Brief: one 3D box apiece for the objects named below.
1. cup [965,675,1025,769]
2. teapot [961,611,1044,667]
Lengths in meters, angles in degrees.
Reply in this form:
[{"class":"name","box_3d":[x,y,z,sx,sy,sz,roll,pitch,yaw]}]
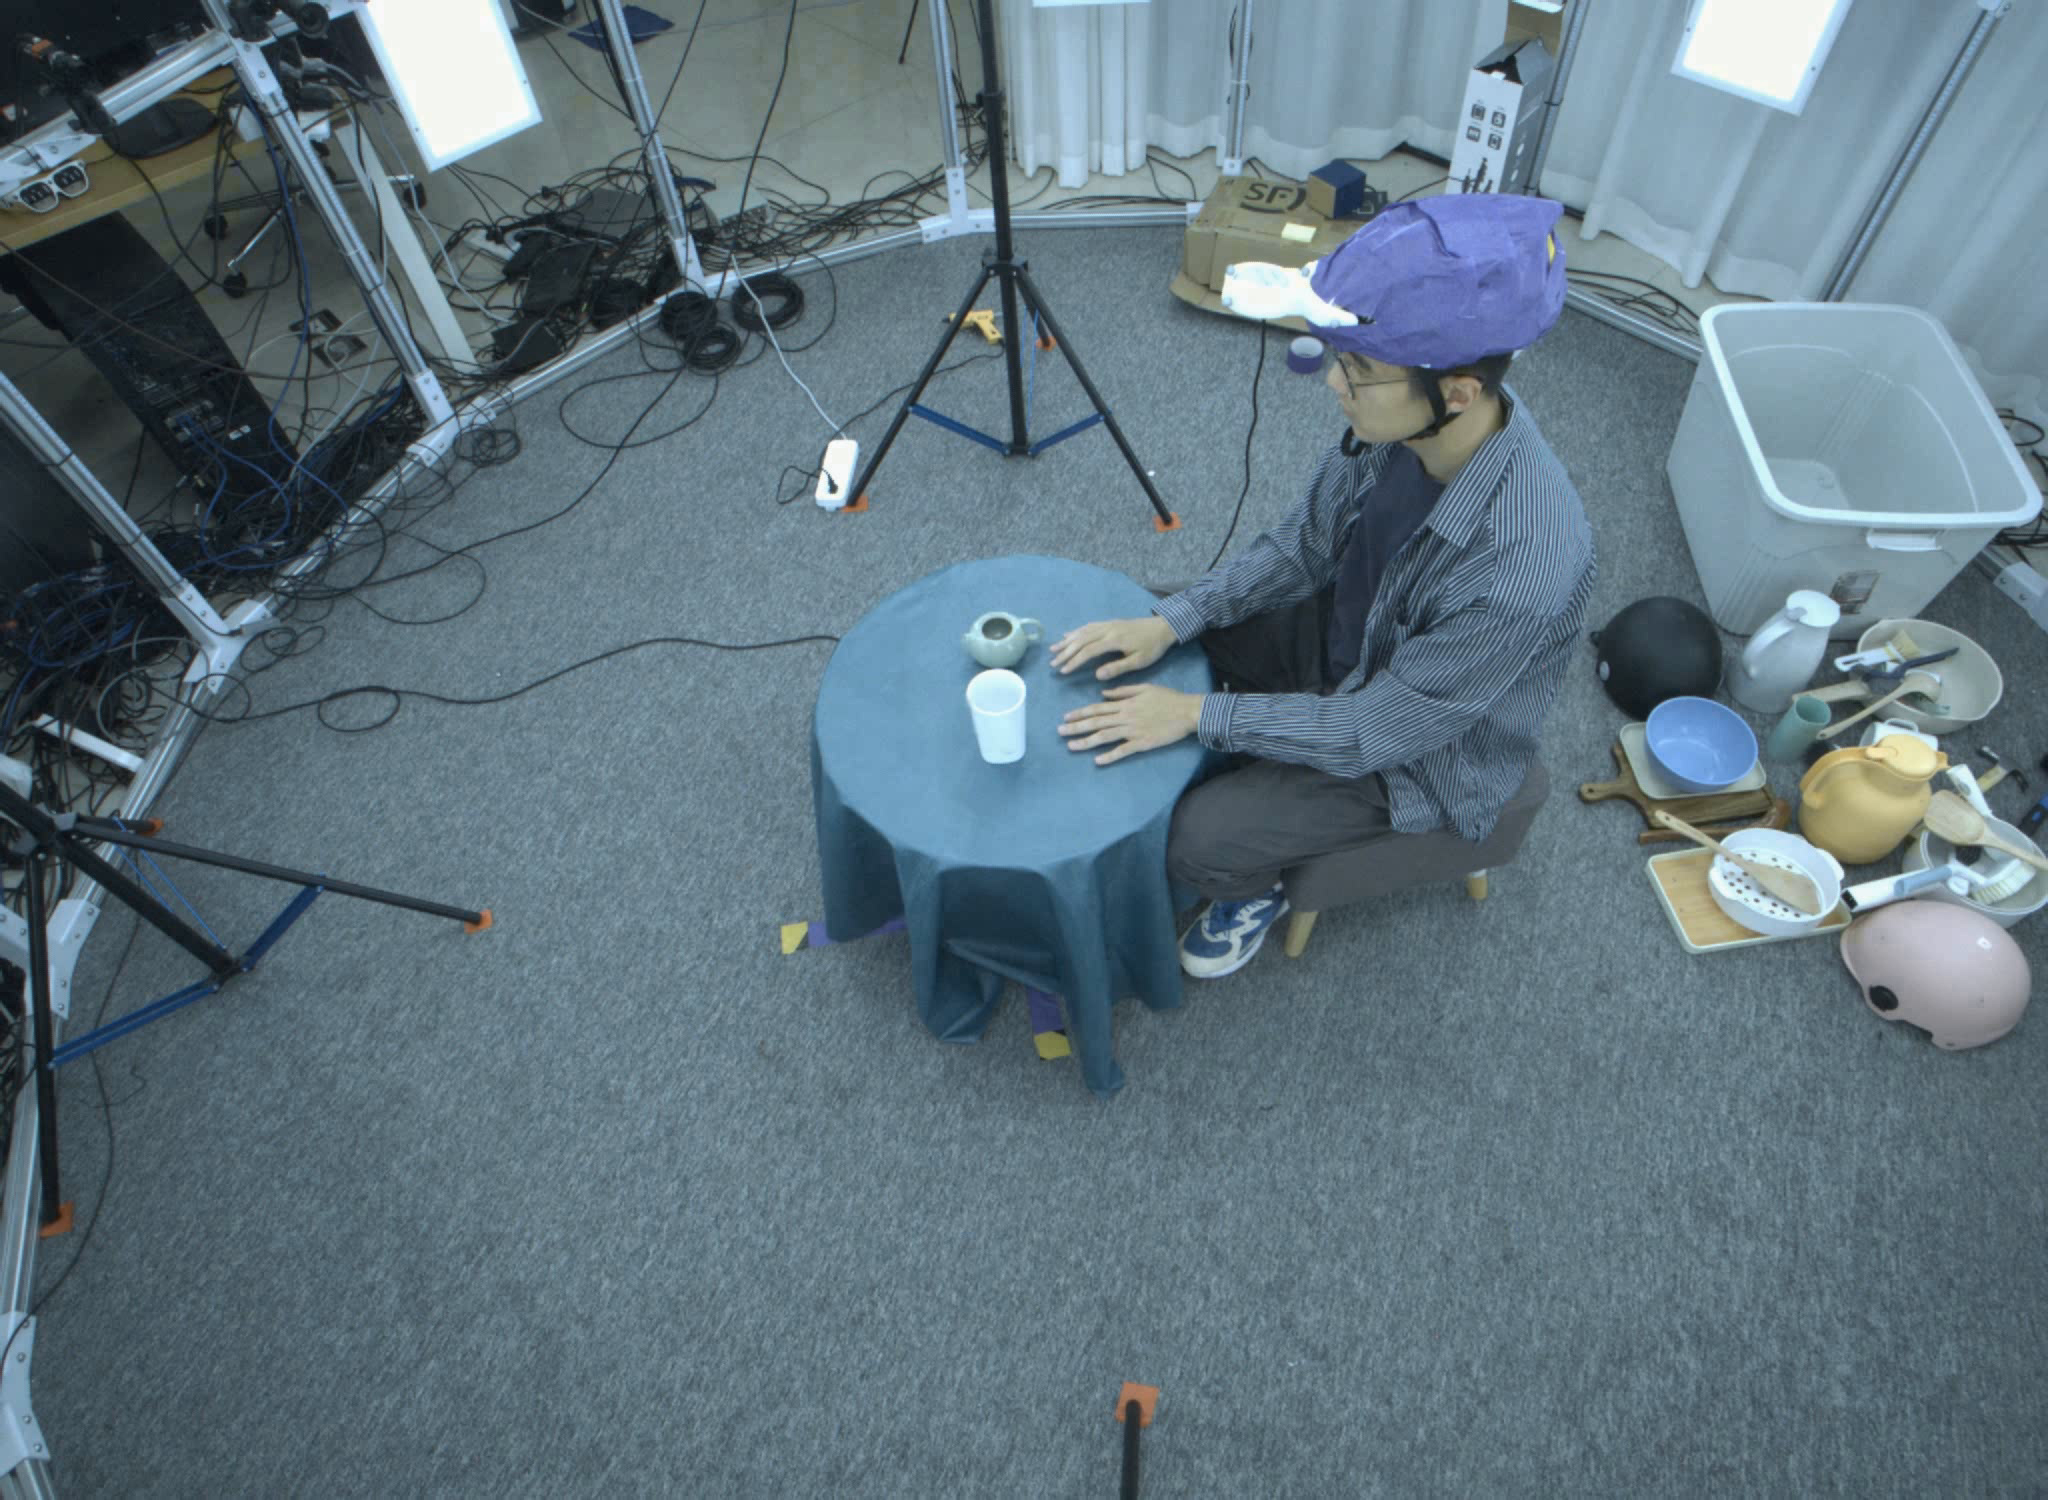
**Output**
[{"class":"cup","box_3d":[-0.037,-0.035,1.738,0.081,0.127,0.081,-1,54,3]},{"class":"teapot","box_3d":[-0.032,-0.171,1.879,0.129,0.061,0.090,-12,53,-7]}]
